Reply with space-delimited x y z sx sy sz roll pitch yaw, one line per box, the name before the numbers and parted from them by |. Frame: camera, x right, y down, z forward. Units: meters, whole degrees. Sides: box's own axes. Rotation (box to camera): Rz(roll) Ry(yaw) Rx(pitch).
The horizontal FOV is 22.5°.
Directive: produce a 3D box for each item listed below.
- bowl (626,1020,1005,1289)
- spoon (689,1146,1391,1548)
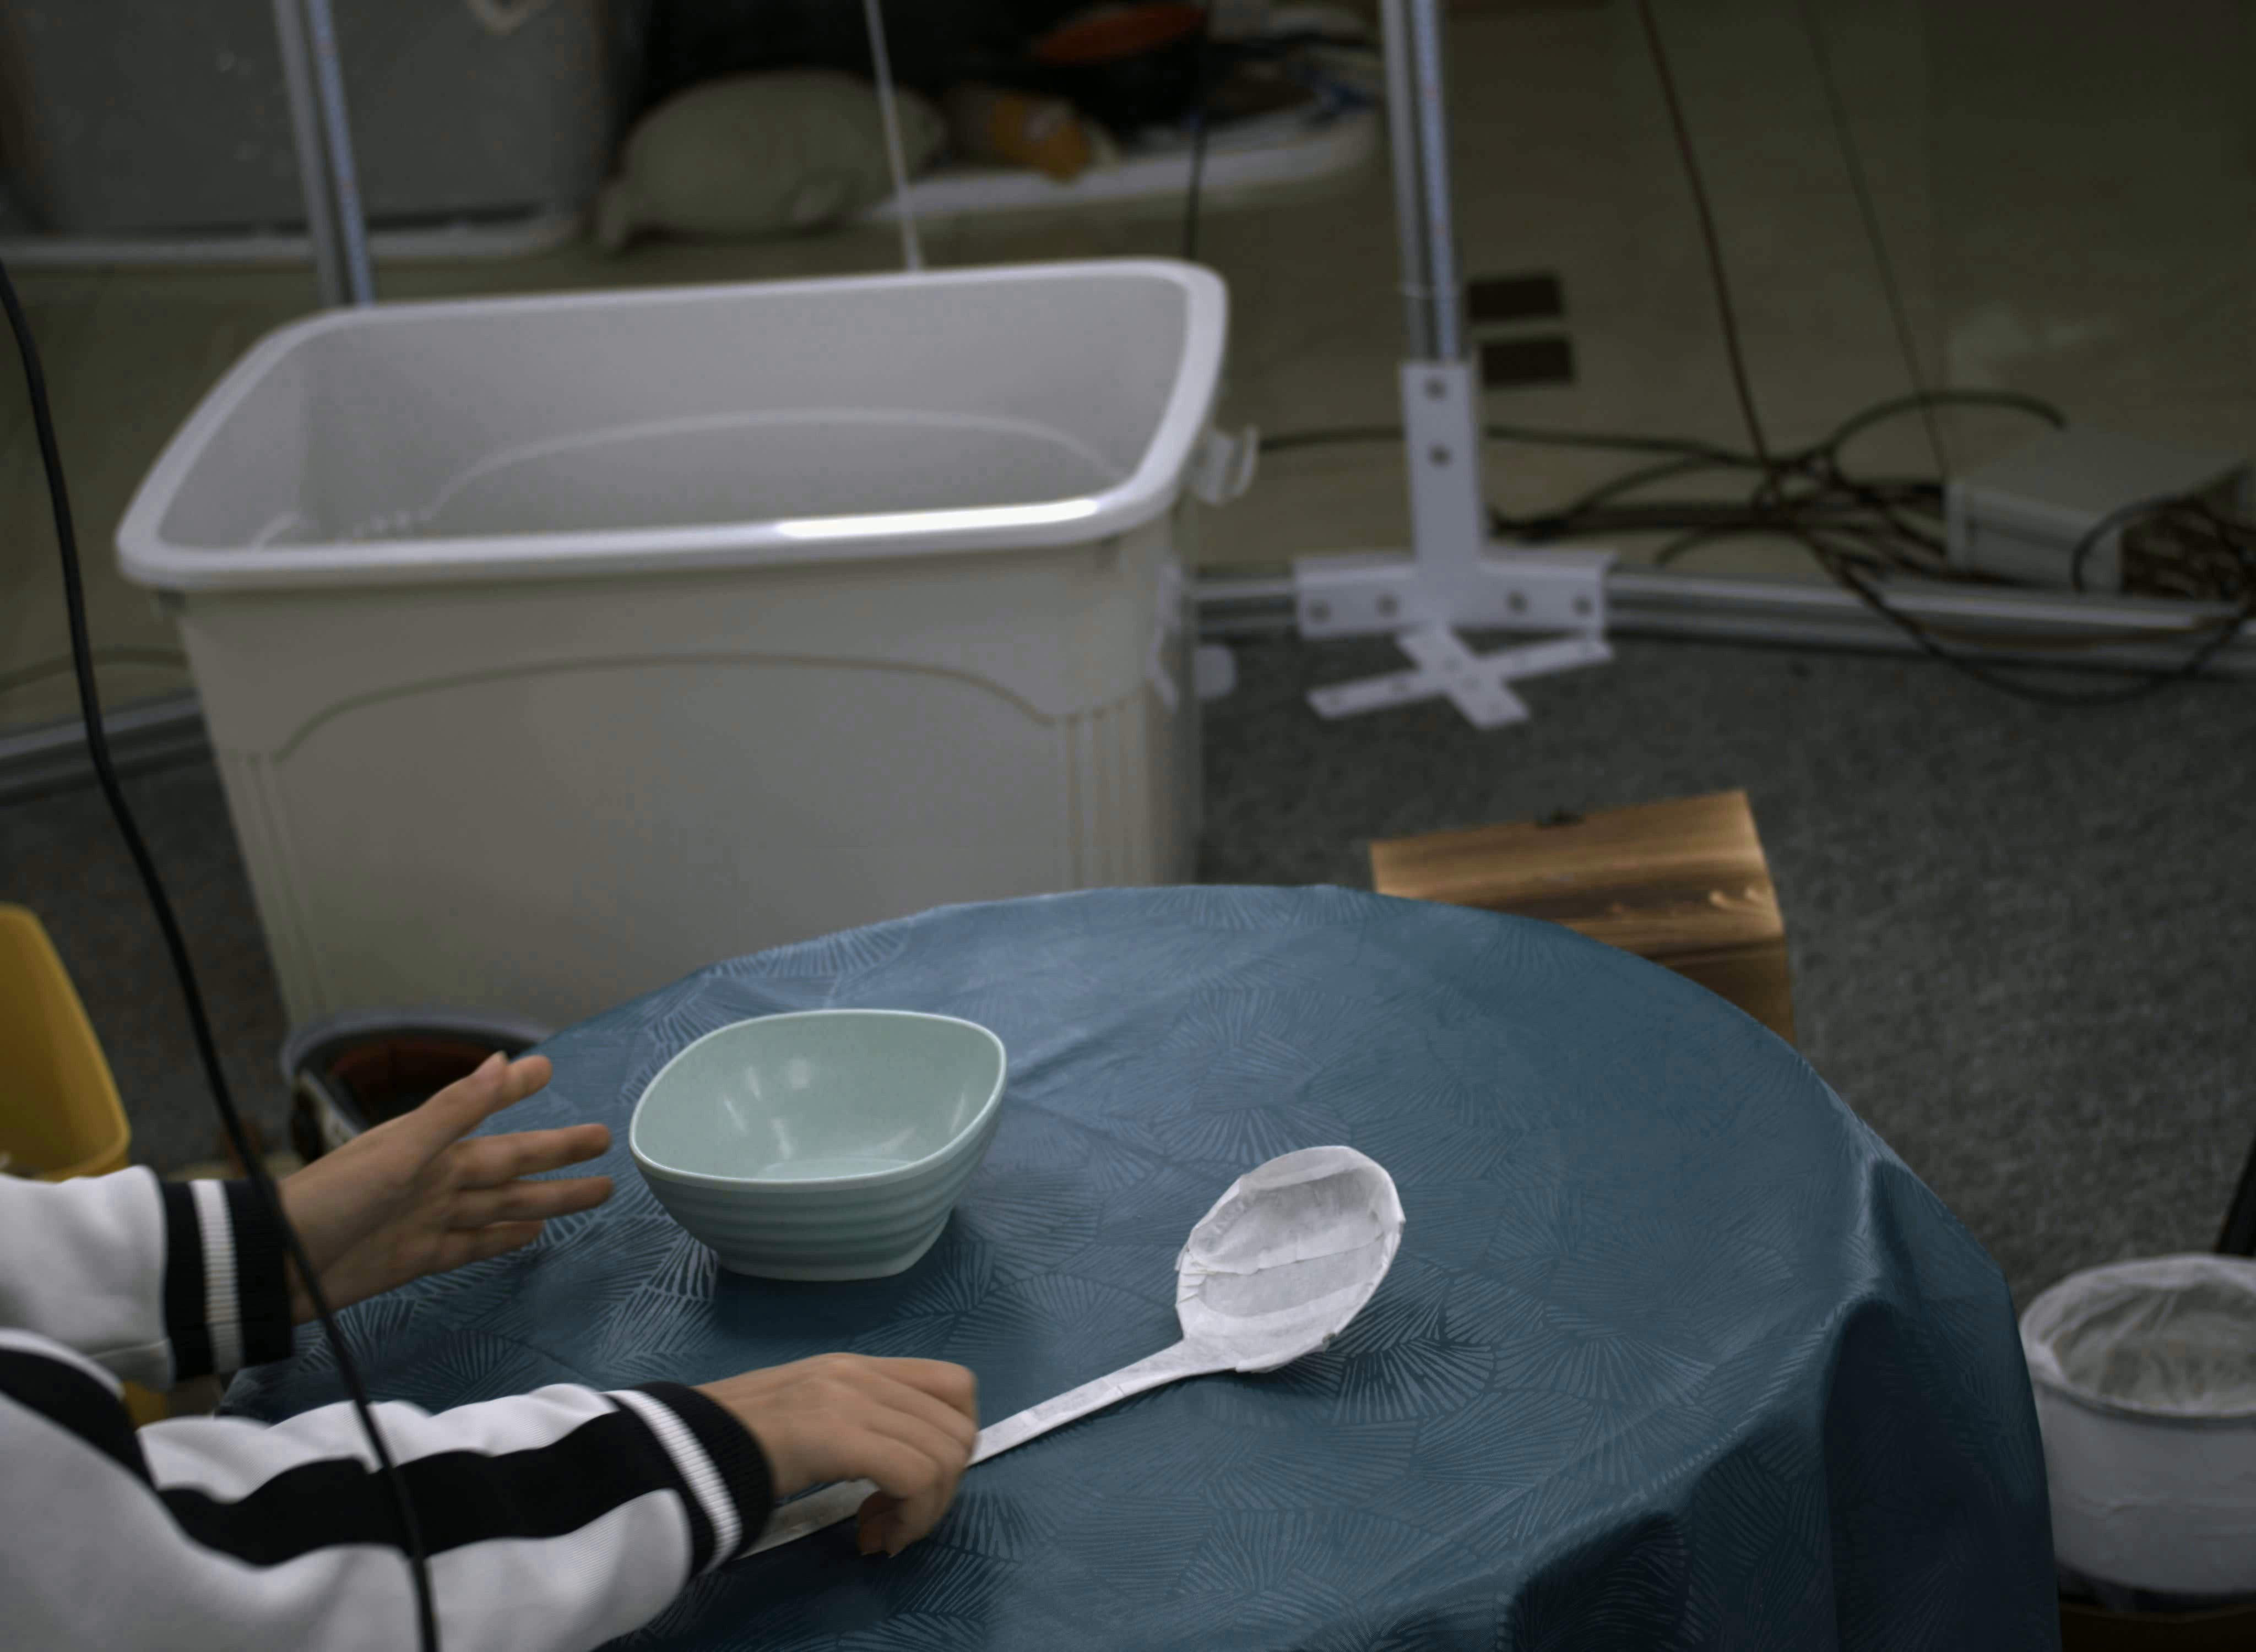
bowl | -0.114 0.129 2.135 0.151 0.059 0.149 -5 25 3
spoon | -0.033 0.181 1.995 0.276 0.060 0.099 -17 25 -23
